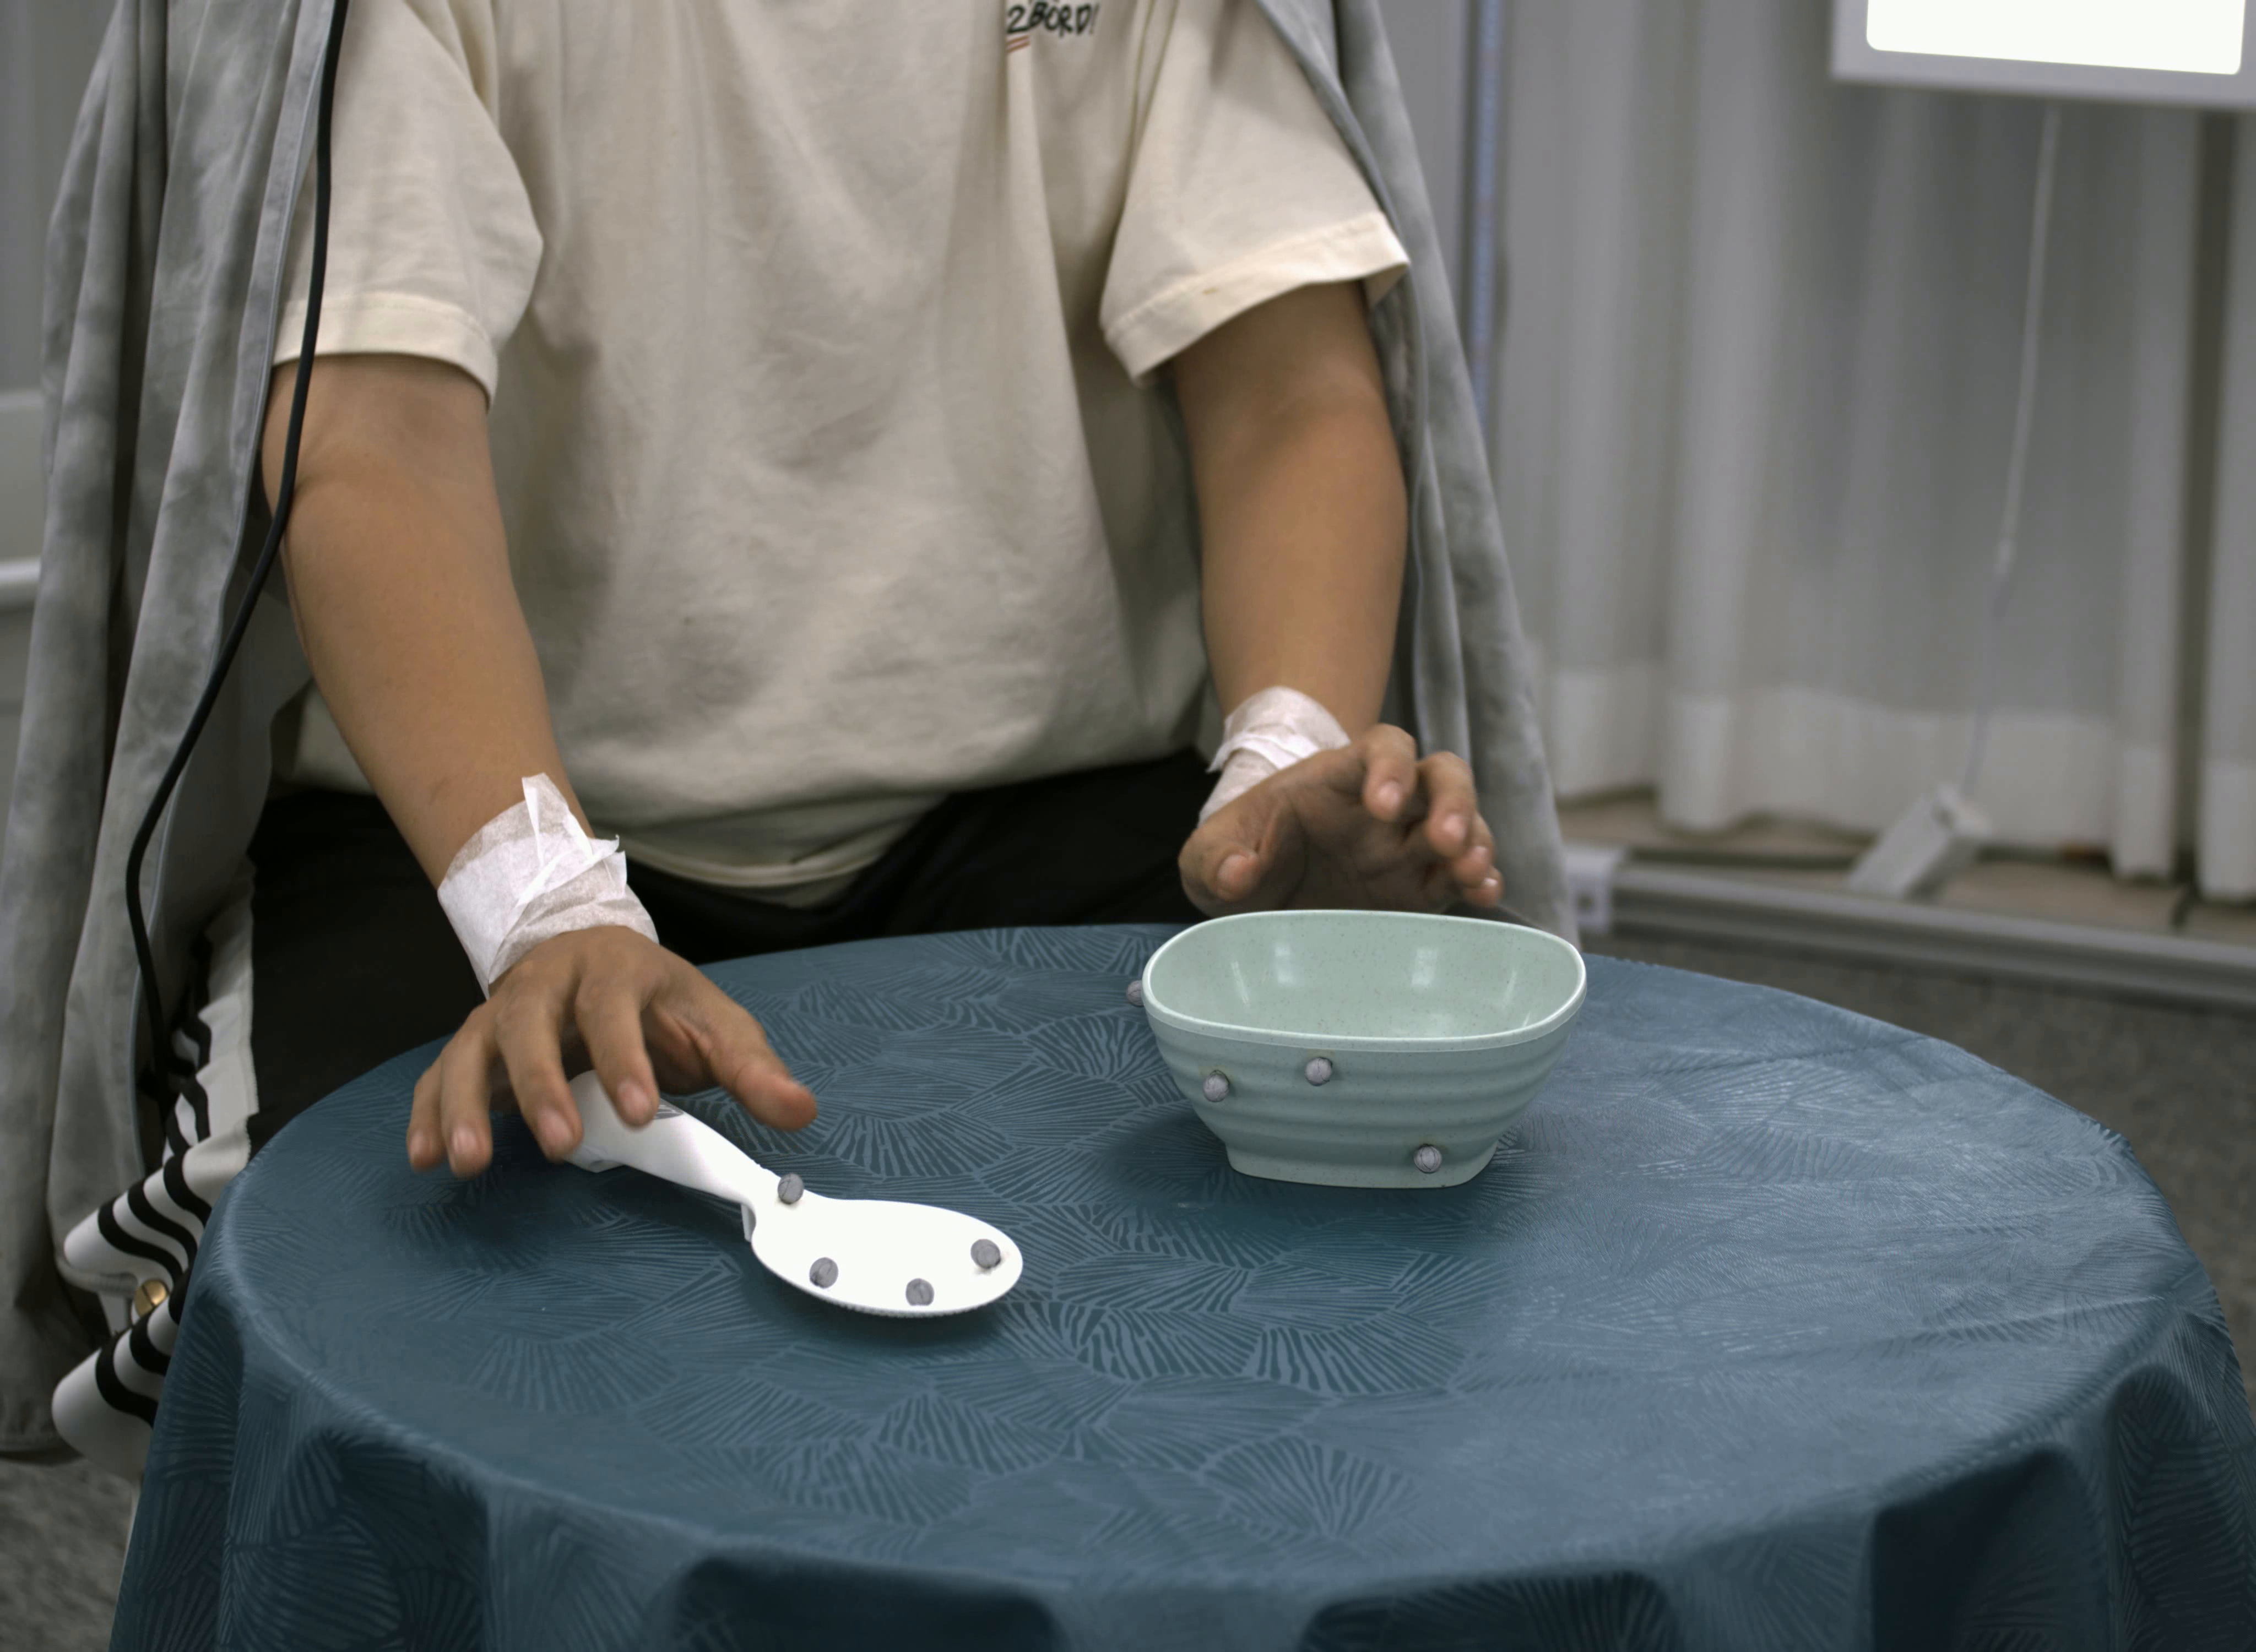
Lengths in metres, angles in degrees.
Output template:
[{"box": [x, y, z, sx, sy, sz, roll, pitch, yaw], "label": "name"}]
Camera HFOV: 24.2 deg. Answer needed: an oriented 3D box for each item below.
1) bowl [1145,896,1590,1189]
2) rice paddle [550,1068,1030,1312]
[{"box": [0.076, 0.072, 1.662, 0.151, 0.059, 0.150, -2, 18, 1], "label": "bowl"}, {"box": [-0.104, 0.110, 1.571, 0.069, 0.029, 0.202, -14, 21, -37], "label": "rice paddle"}]
